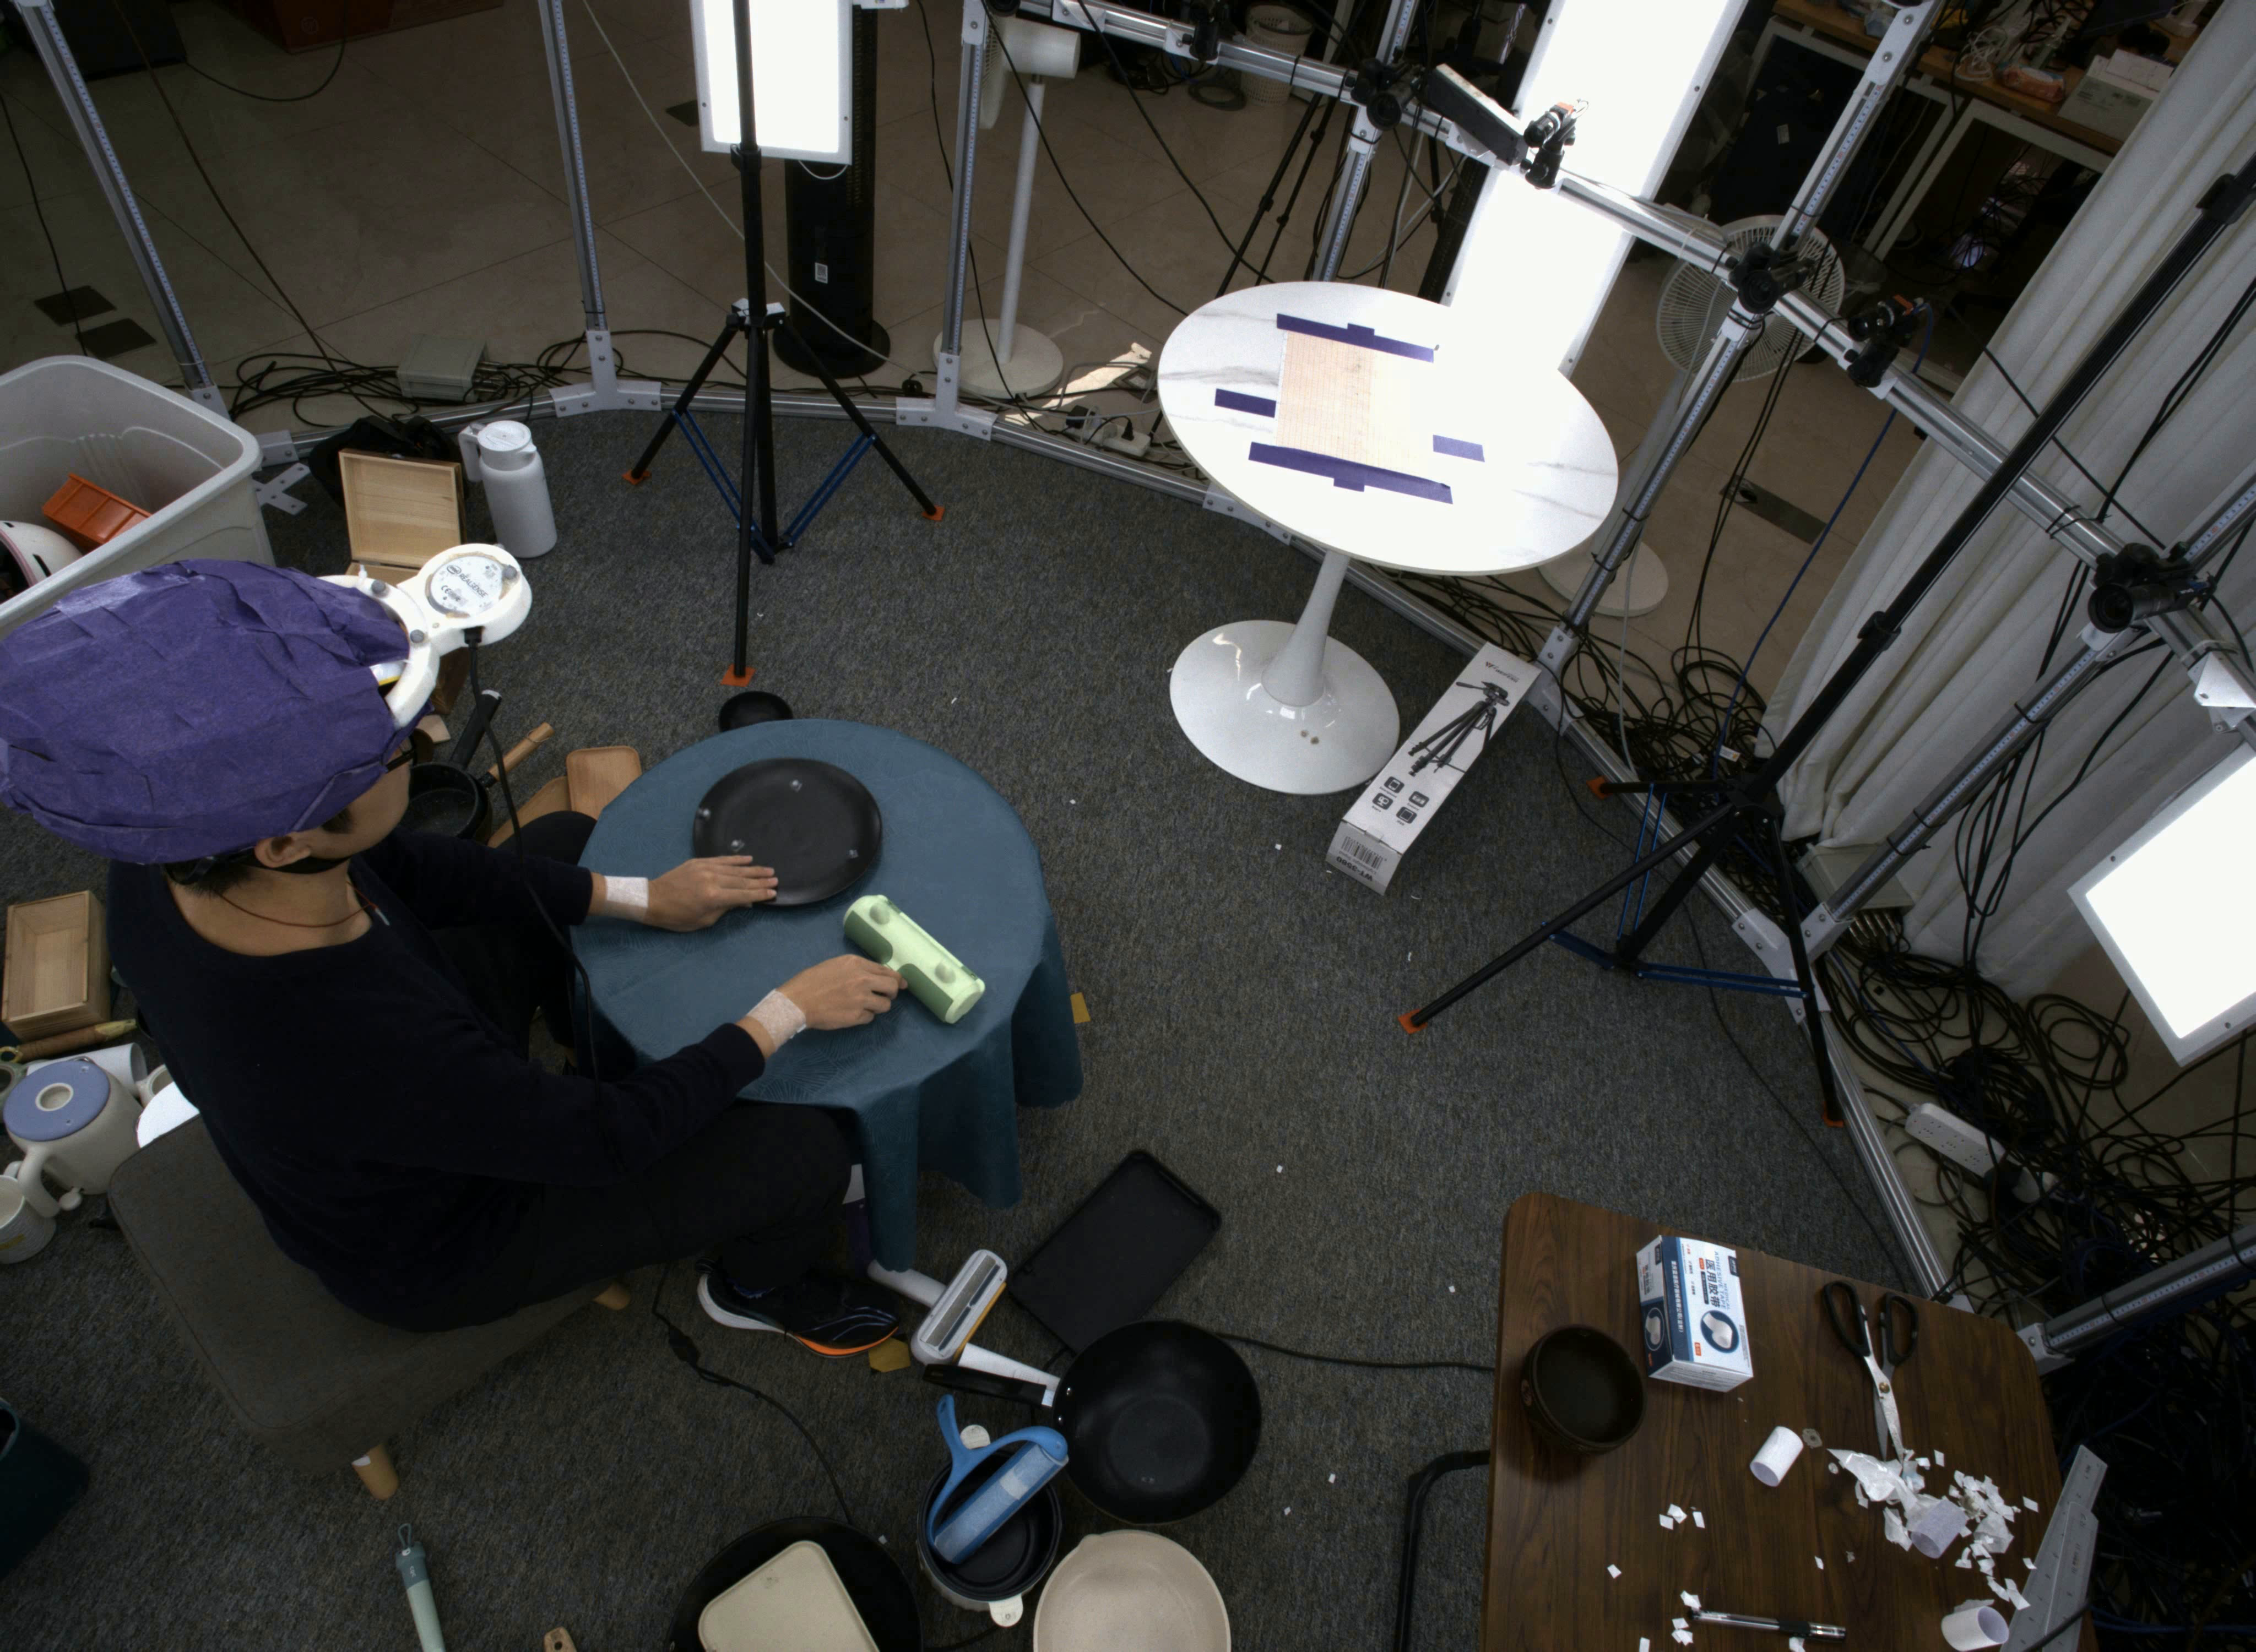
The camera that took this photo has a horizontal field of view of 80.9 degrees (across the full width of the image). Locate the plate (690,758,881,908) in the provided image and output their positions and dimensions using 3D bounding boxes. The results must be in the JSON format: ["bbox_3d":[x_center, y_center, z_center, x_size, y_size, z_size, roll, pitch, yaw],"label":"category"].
[{"bbox_3d":[-0.443,0.009,1.685,0.244,0.024,0.240,9,51,-9],"label":"plate"}]

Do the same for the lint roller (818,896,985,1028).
[{"bbox_3d":[-0.295,0.172,1.552,0.194,0.083,0.184,37,35,15],"label":"lint roller"}]
